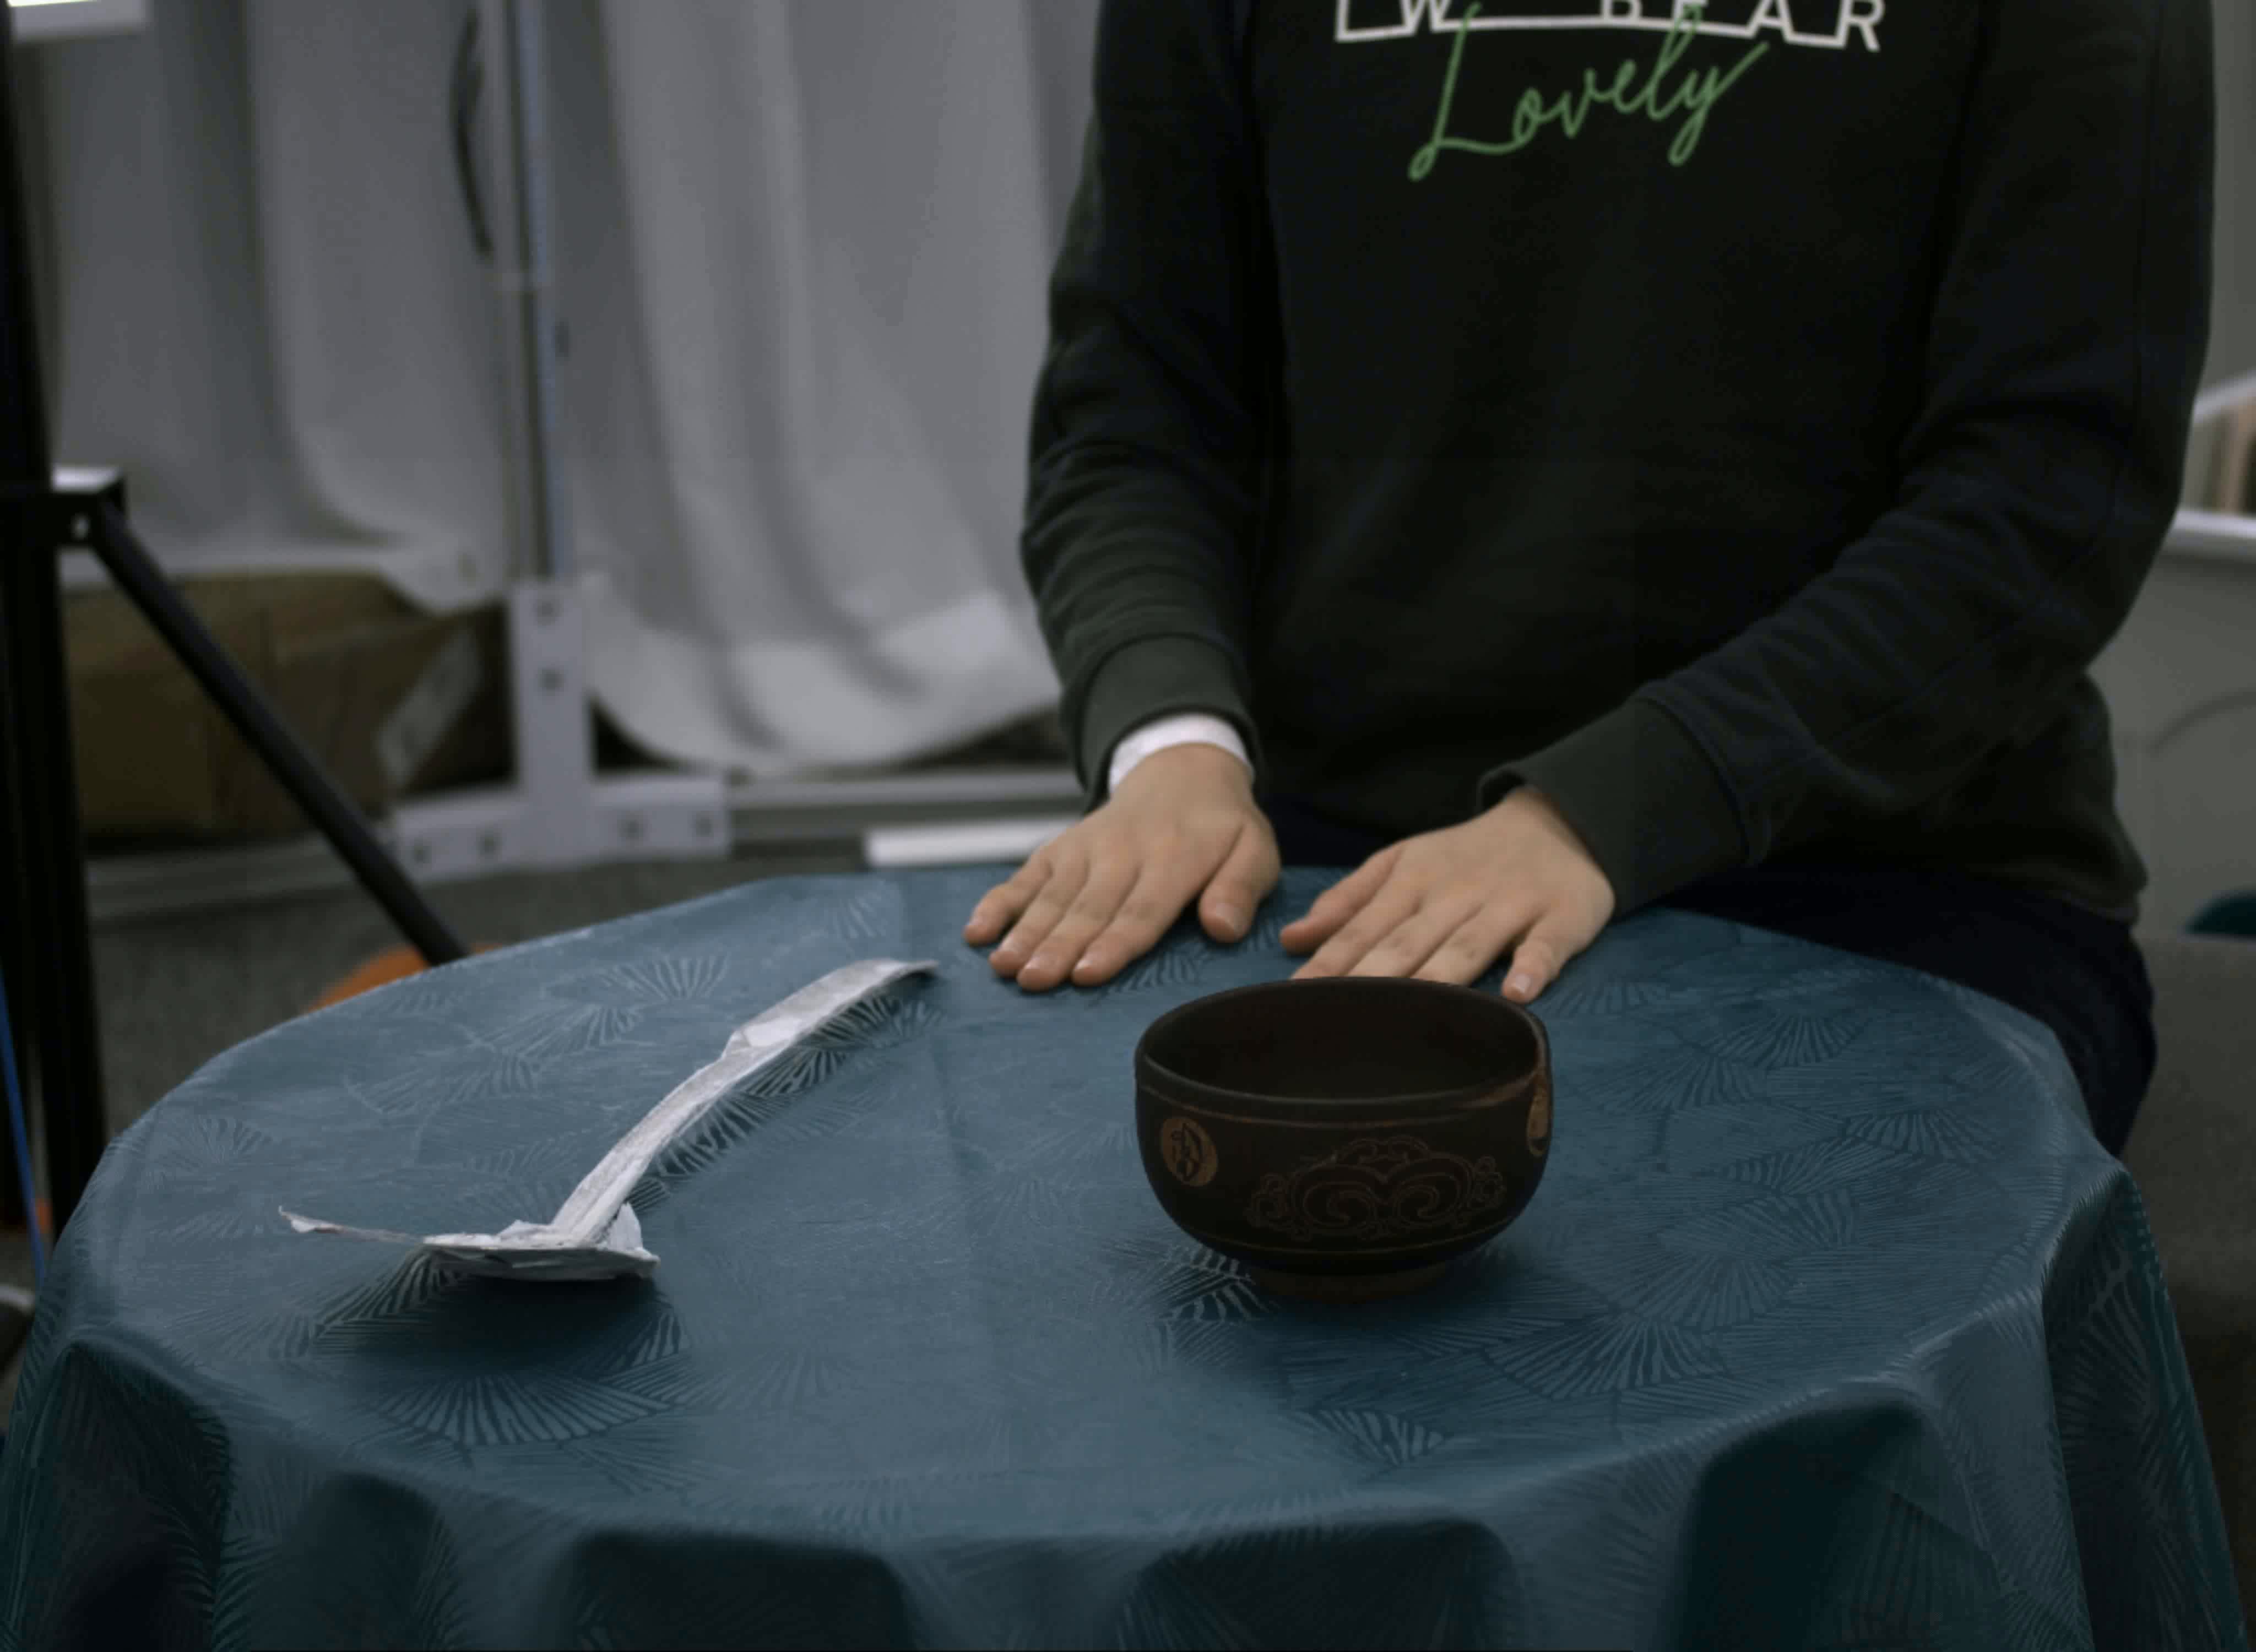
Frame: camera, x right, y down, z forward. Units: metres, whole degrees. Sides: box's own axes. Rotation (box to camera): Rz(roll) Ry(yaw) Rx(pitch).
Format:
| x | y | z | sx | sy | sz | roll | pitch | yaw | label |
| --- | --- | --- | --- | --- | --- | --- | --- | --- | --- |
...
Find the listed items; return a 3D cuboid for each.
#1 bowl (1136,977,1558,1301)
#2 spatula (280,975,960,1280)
| x | y | z | sx | sy | sz | roll | pitch | yaw | label |
| --- | --- | --- | --- | --- | --- | --- | --- | --- | --- |
| 0.061 | 0.091 | 1.479 | 0.117 | 0.070 | 0.118 | -1 | 14 | -1 | bowl |
| -0.130 | 0.081 | 1.604 | 0.100 | 0.045 | 0.360 | 2 | 16 | 21 | spatula |
